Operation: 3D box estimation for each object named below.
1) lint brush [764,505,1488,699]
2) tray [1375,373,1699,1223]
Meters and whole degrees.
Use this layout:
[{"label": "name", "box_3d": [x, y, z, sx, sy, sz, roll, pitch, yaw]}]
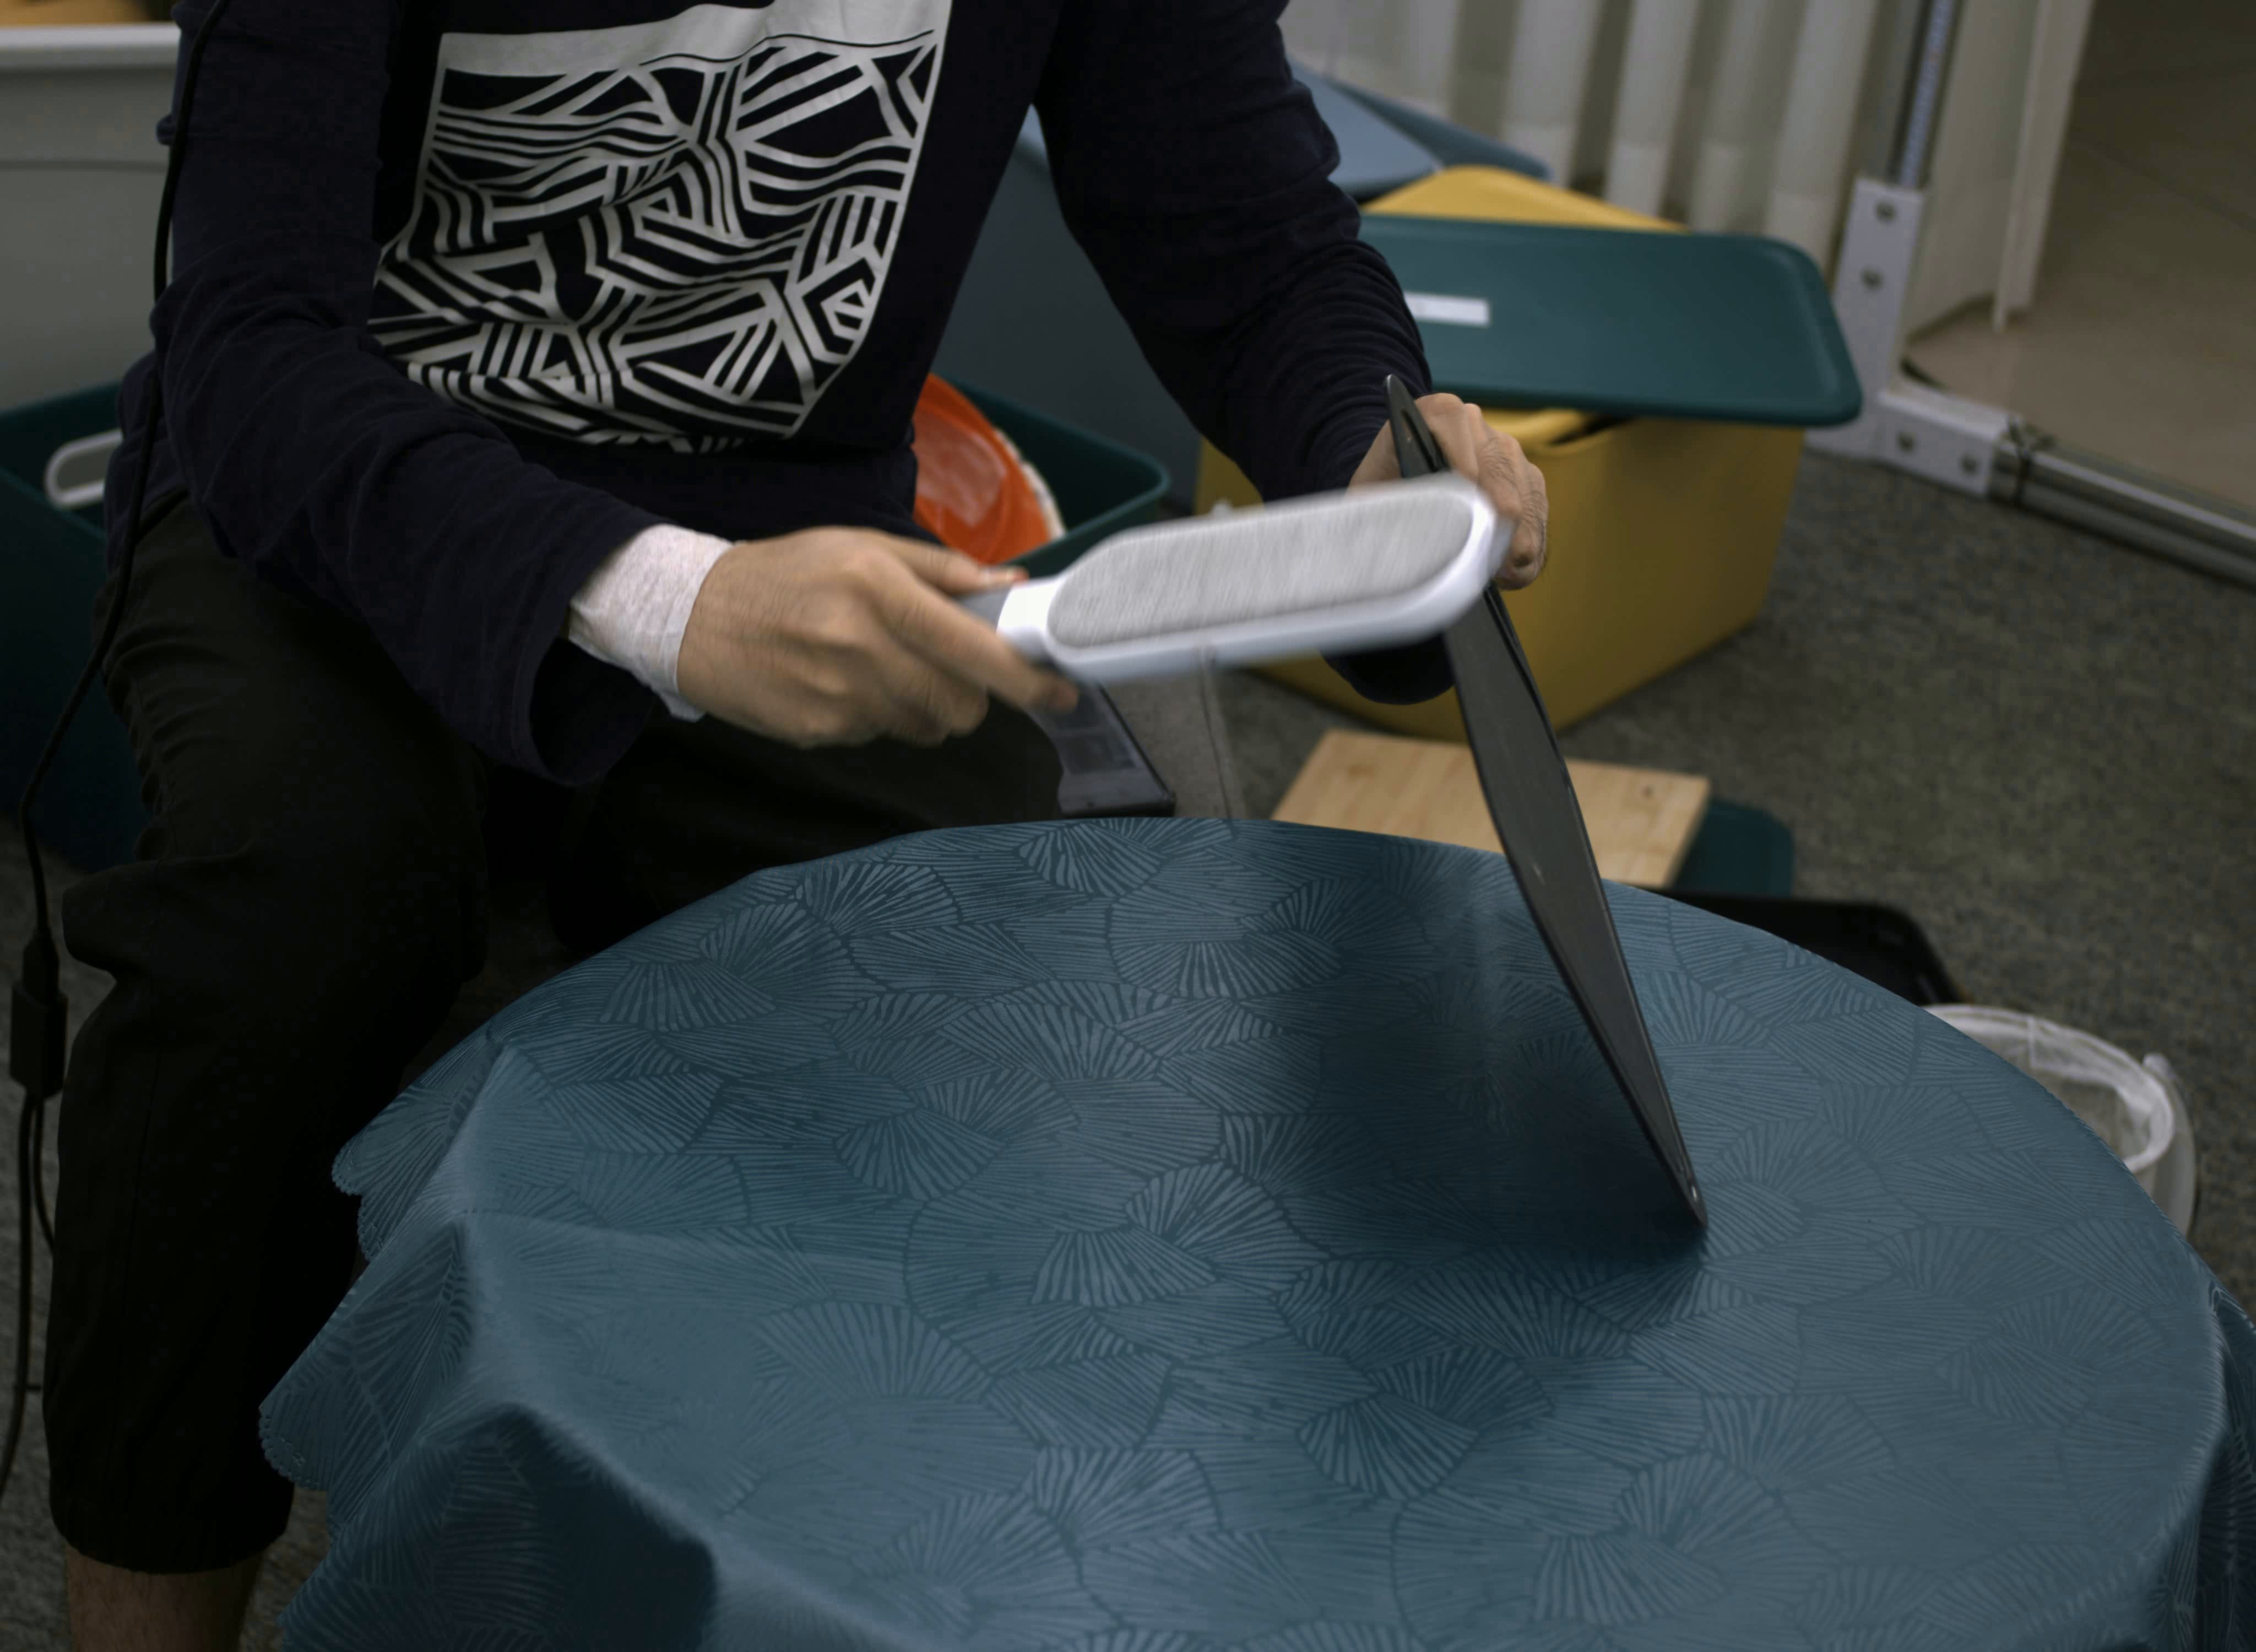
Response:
[{"label": "lint brush", "box_3d": [-0.007, -0.069, 1.793, 0.310, 0.021, 0.060, -5, 53, 40]}, {"label": "tray", "box_3d": [0.142, -0.021, 1.872, 0.010, 0.209, 0.328, -23, 36, 10]}]
